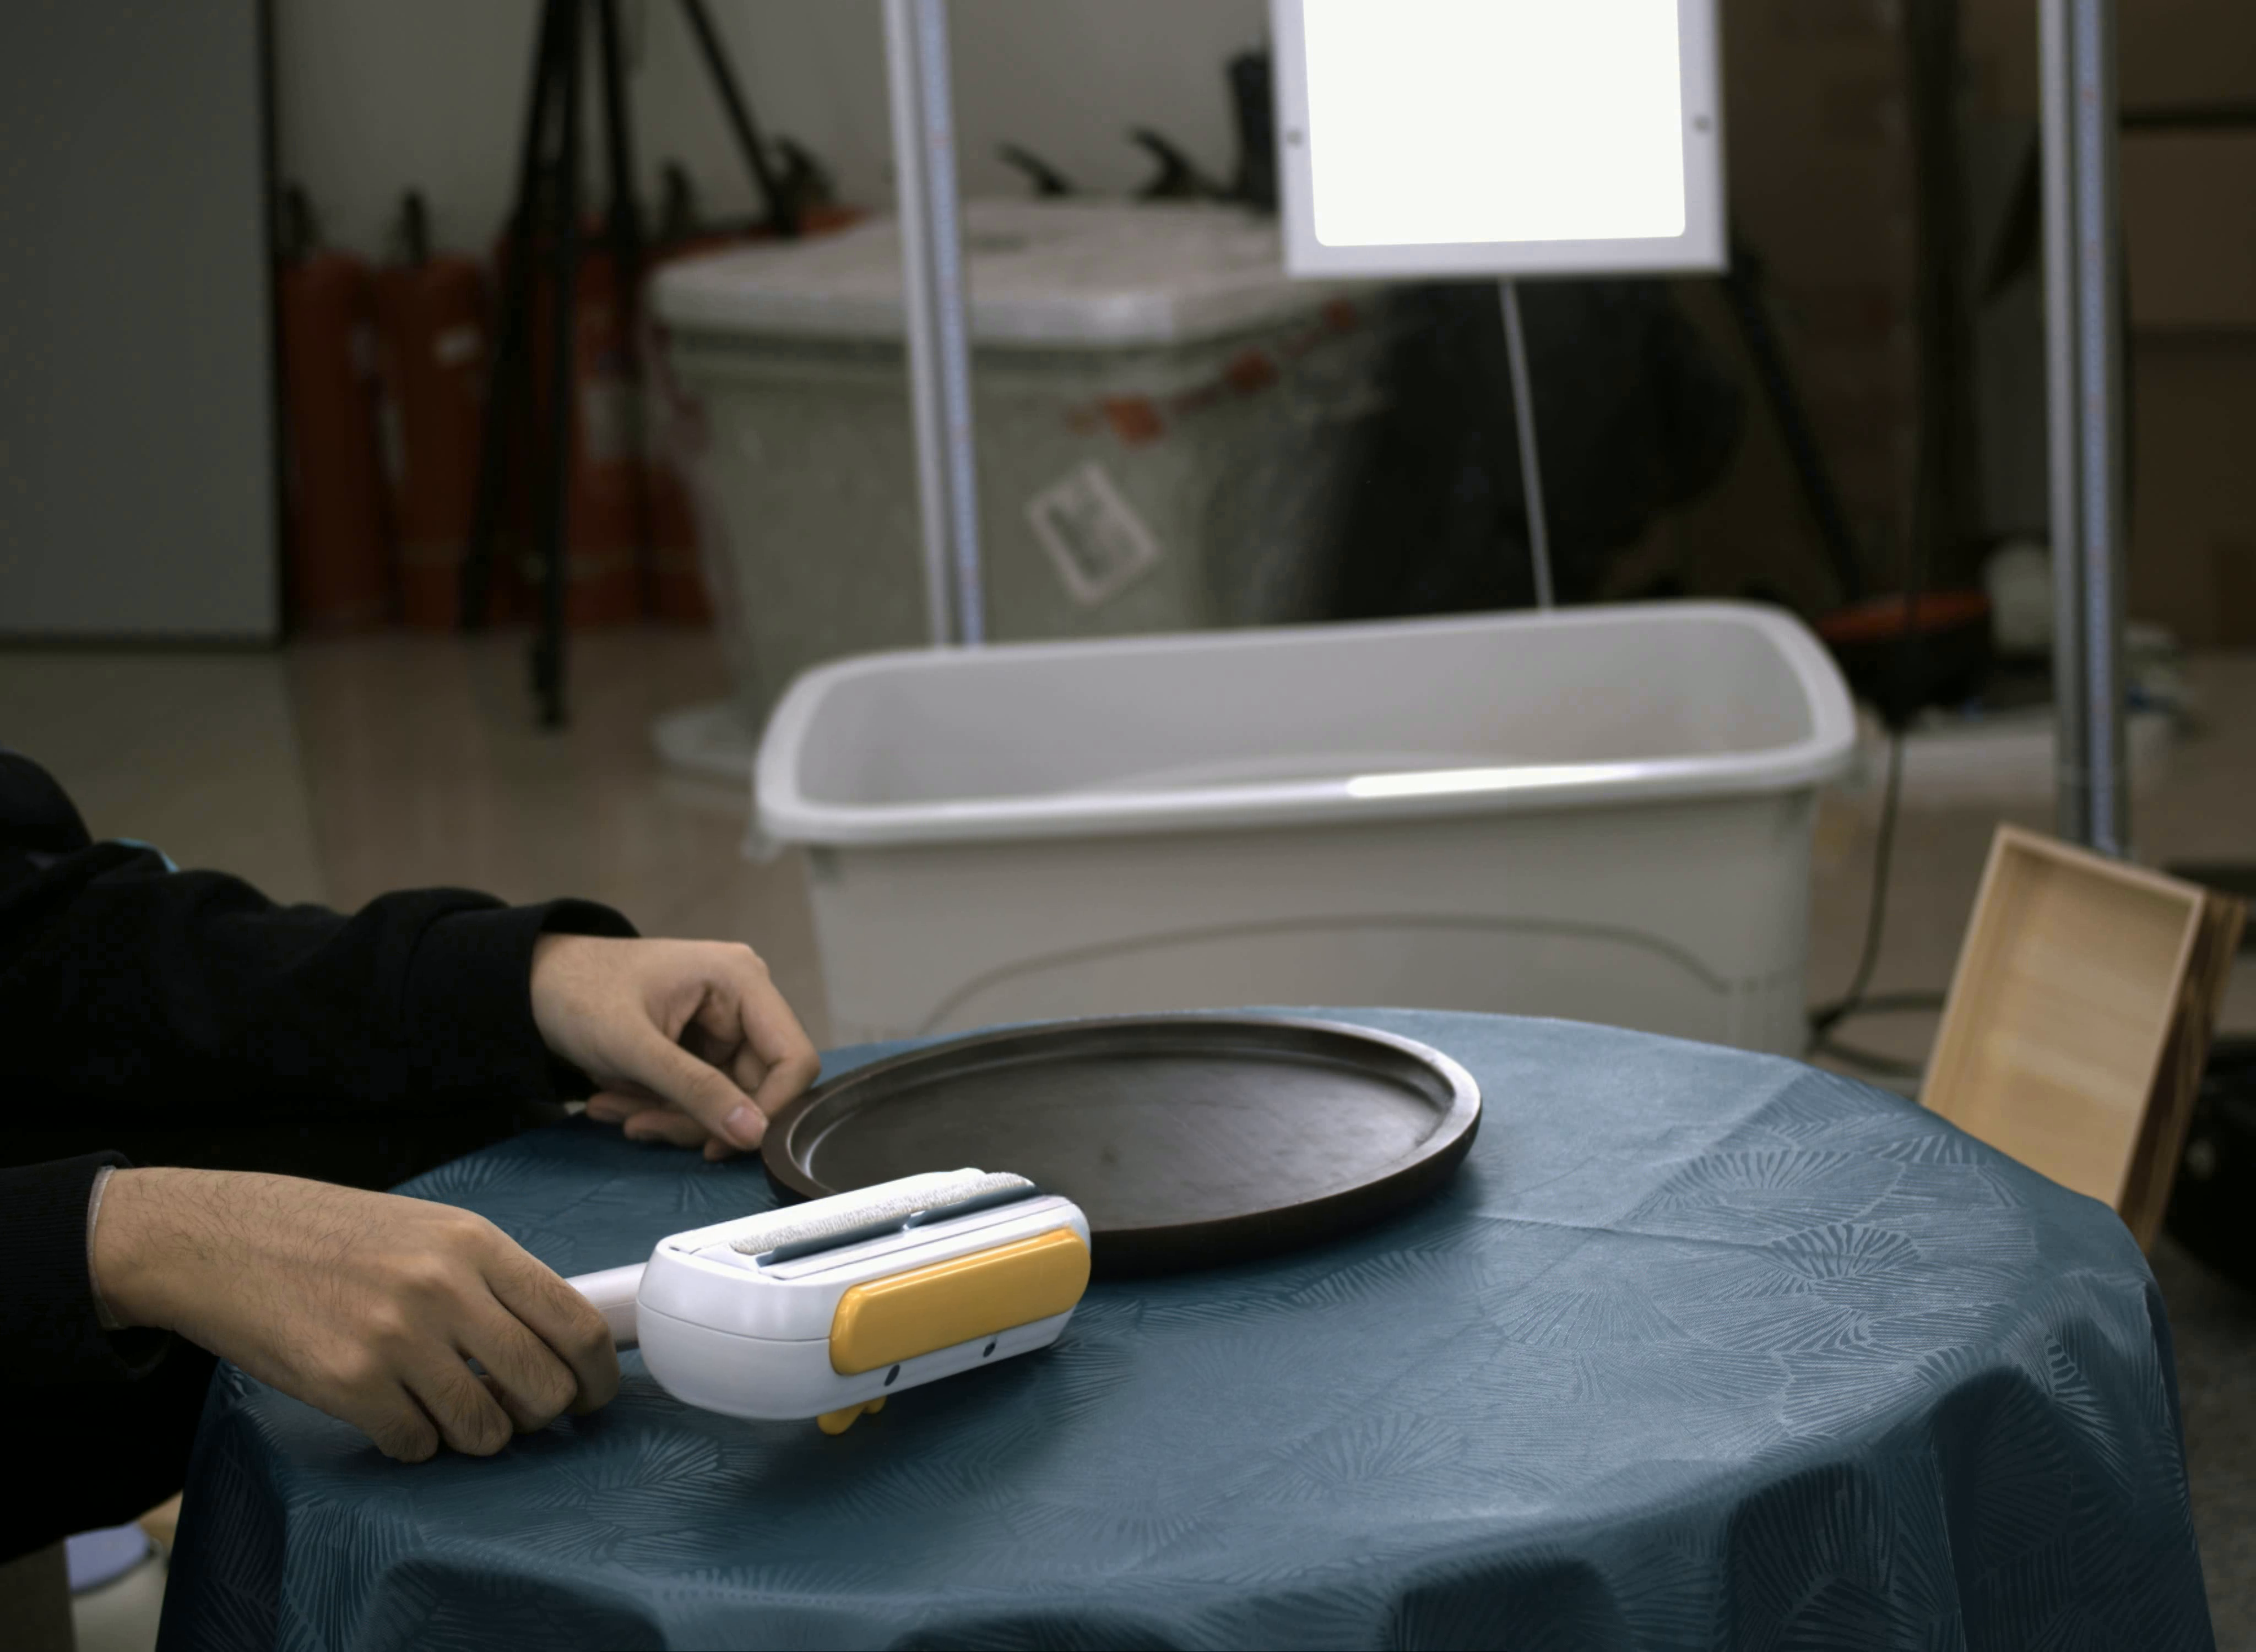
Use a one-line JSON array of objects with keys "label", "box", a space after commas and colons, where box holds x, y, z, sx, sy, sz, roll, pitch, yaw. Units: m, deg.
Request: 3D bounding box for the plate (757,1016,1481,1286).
[{"label": "plate", "box": [-0.002, 0.111, 1.912, 0.254, 0.029, 0.254, -6, 13, 0]}]

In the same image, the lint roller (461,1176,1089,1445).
[{"label": "lint roller", "box": [-0.130, 0.148, 1.716, 0.196, 0.074, 0.188, 2, 10, 35]}]
